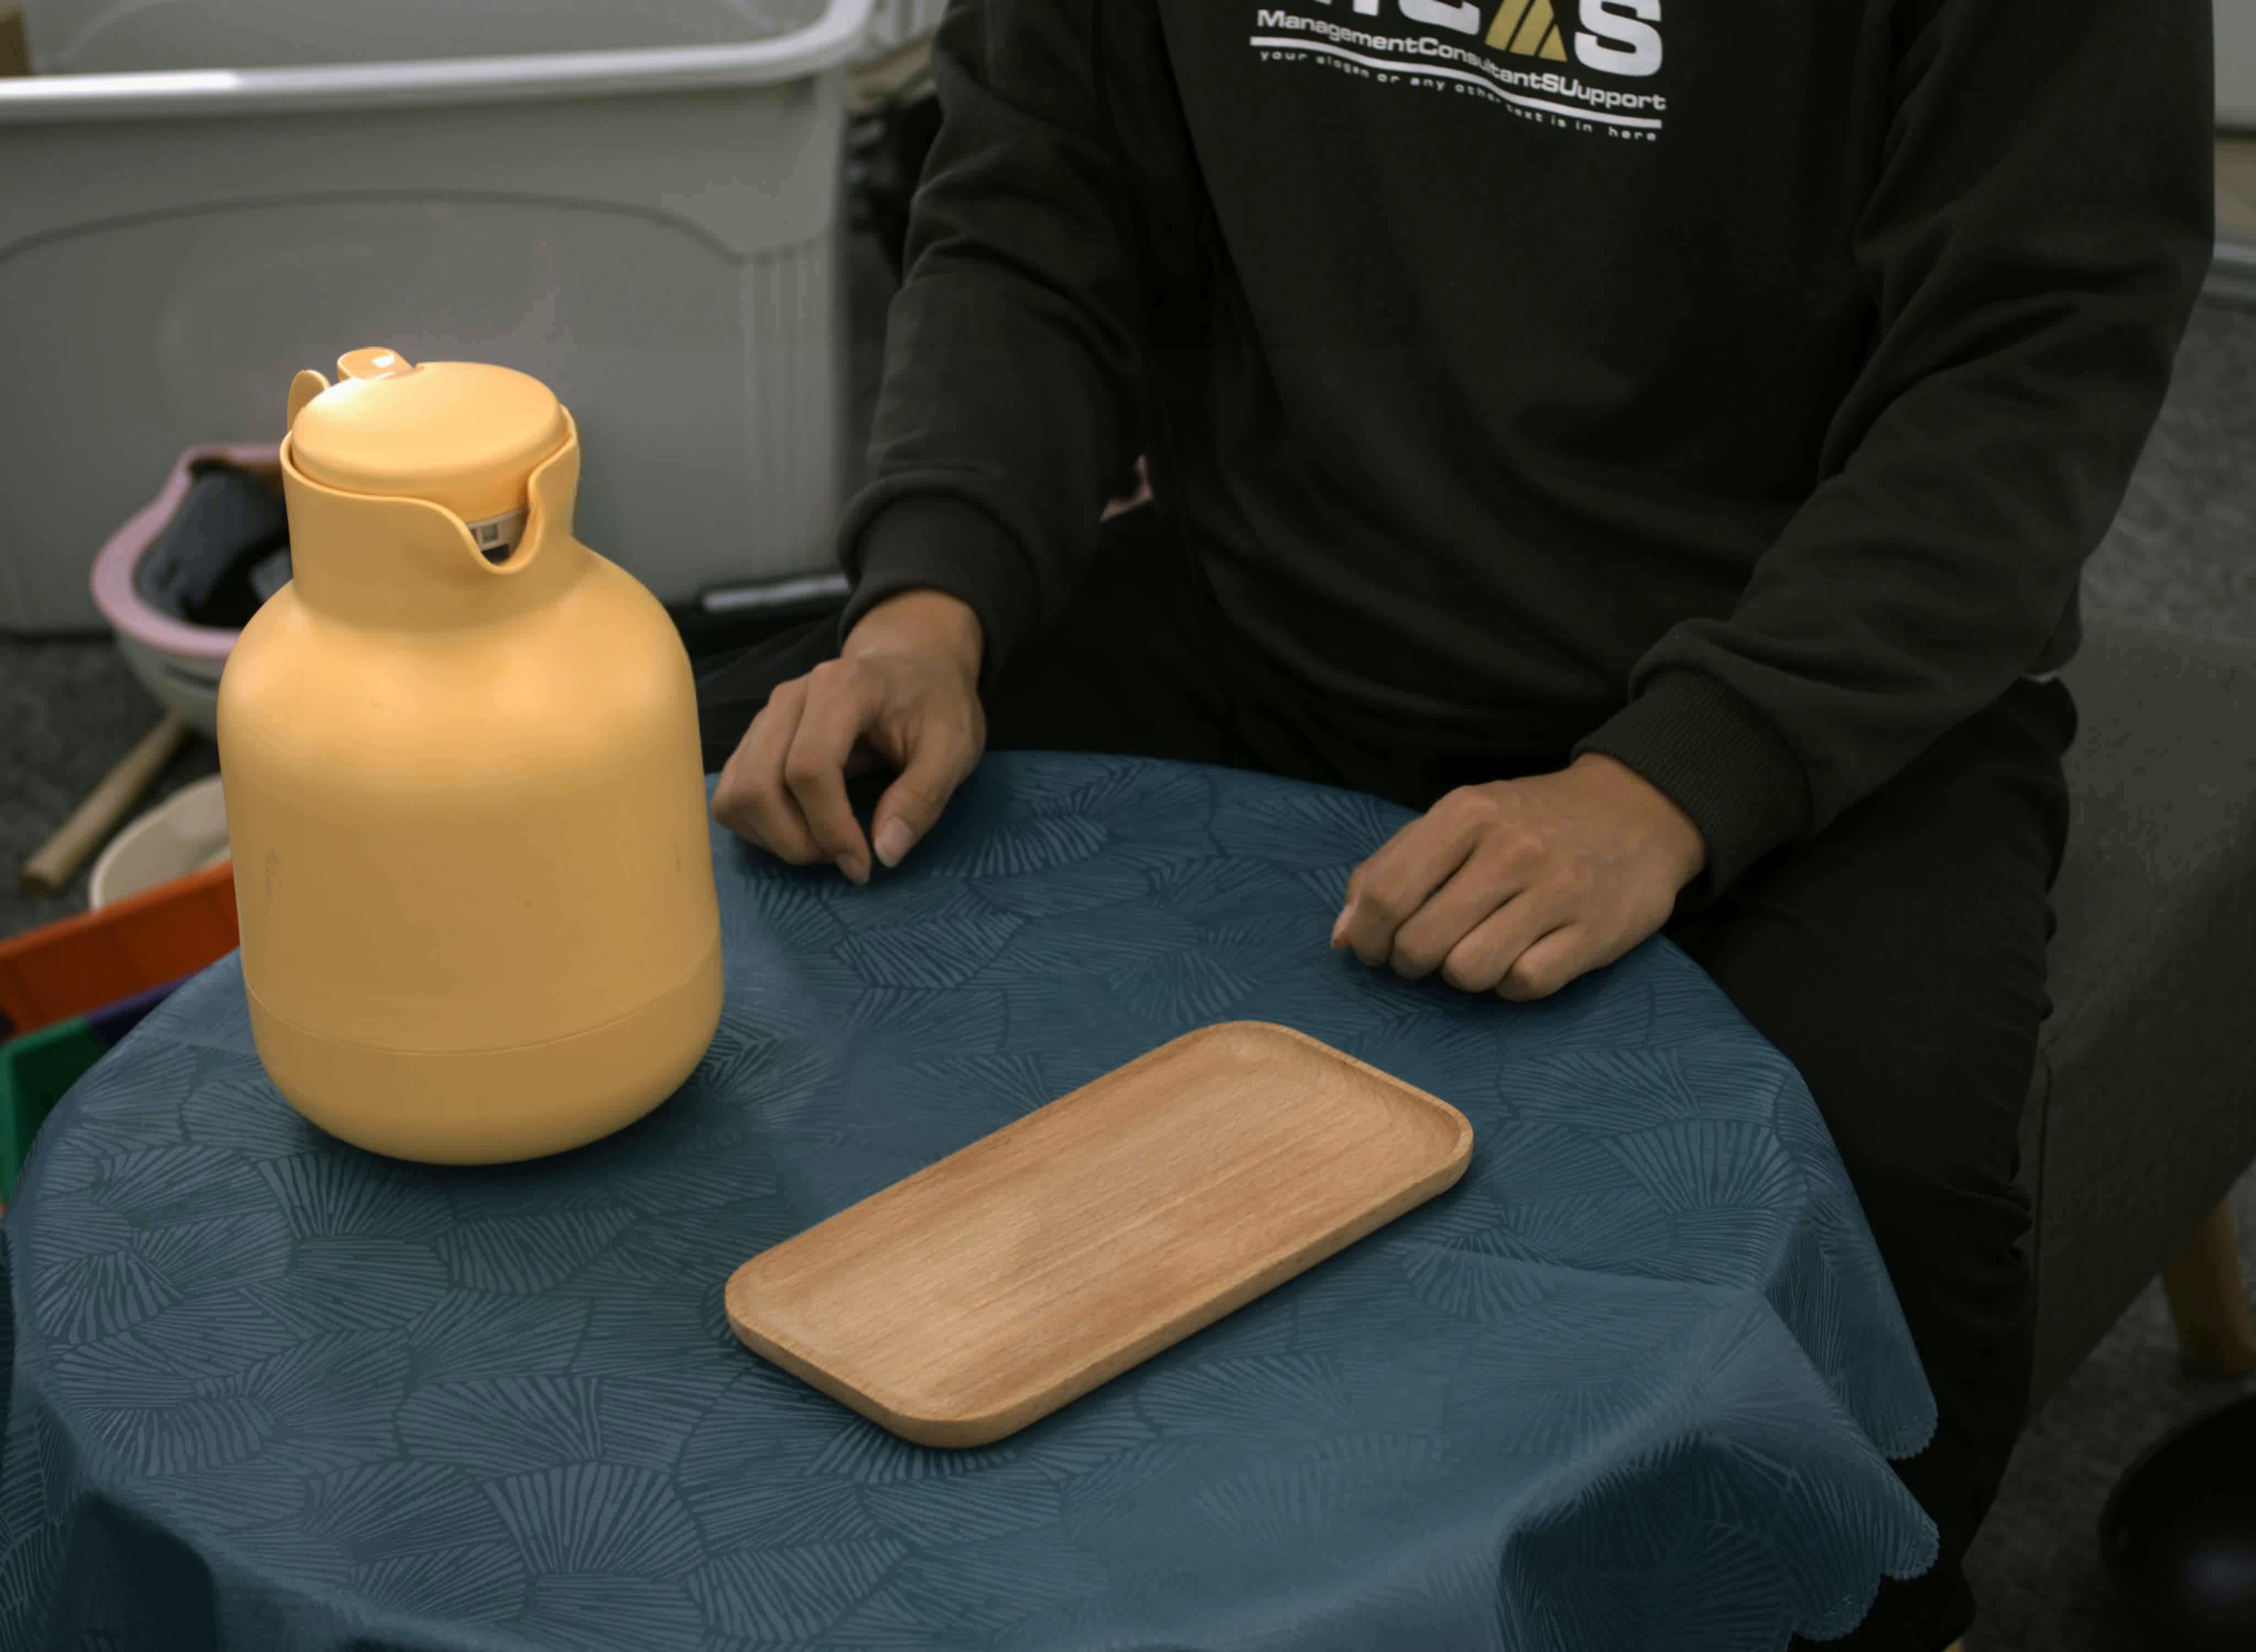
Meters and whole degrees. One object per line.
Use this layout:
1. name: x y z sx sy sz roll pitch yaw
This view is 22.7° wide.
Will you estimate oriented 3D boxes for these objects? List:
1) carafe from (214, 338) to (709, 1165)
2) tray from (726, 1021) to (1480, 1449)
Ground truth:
1. carafe: -0.232 -0.035 1.905 0.164 0.257 0.204 -11 29 -22
2. tray: -0.006 0.131 1.830 0.253 0.022 0.130 -24 37 -37
